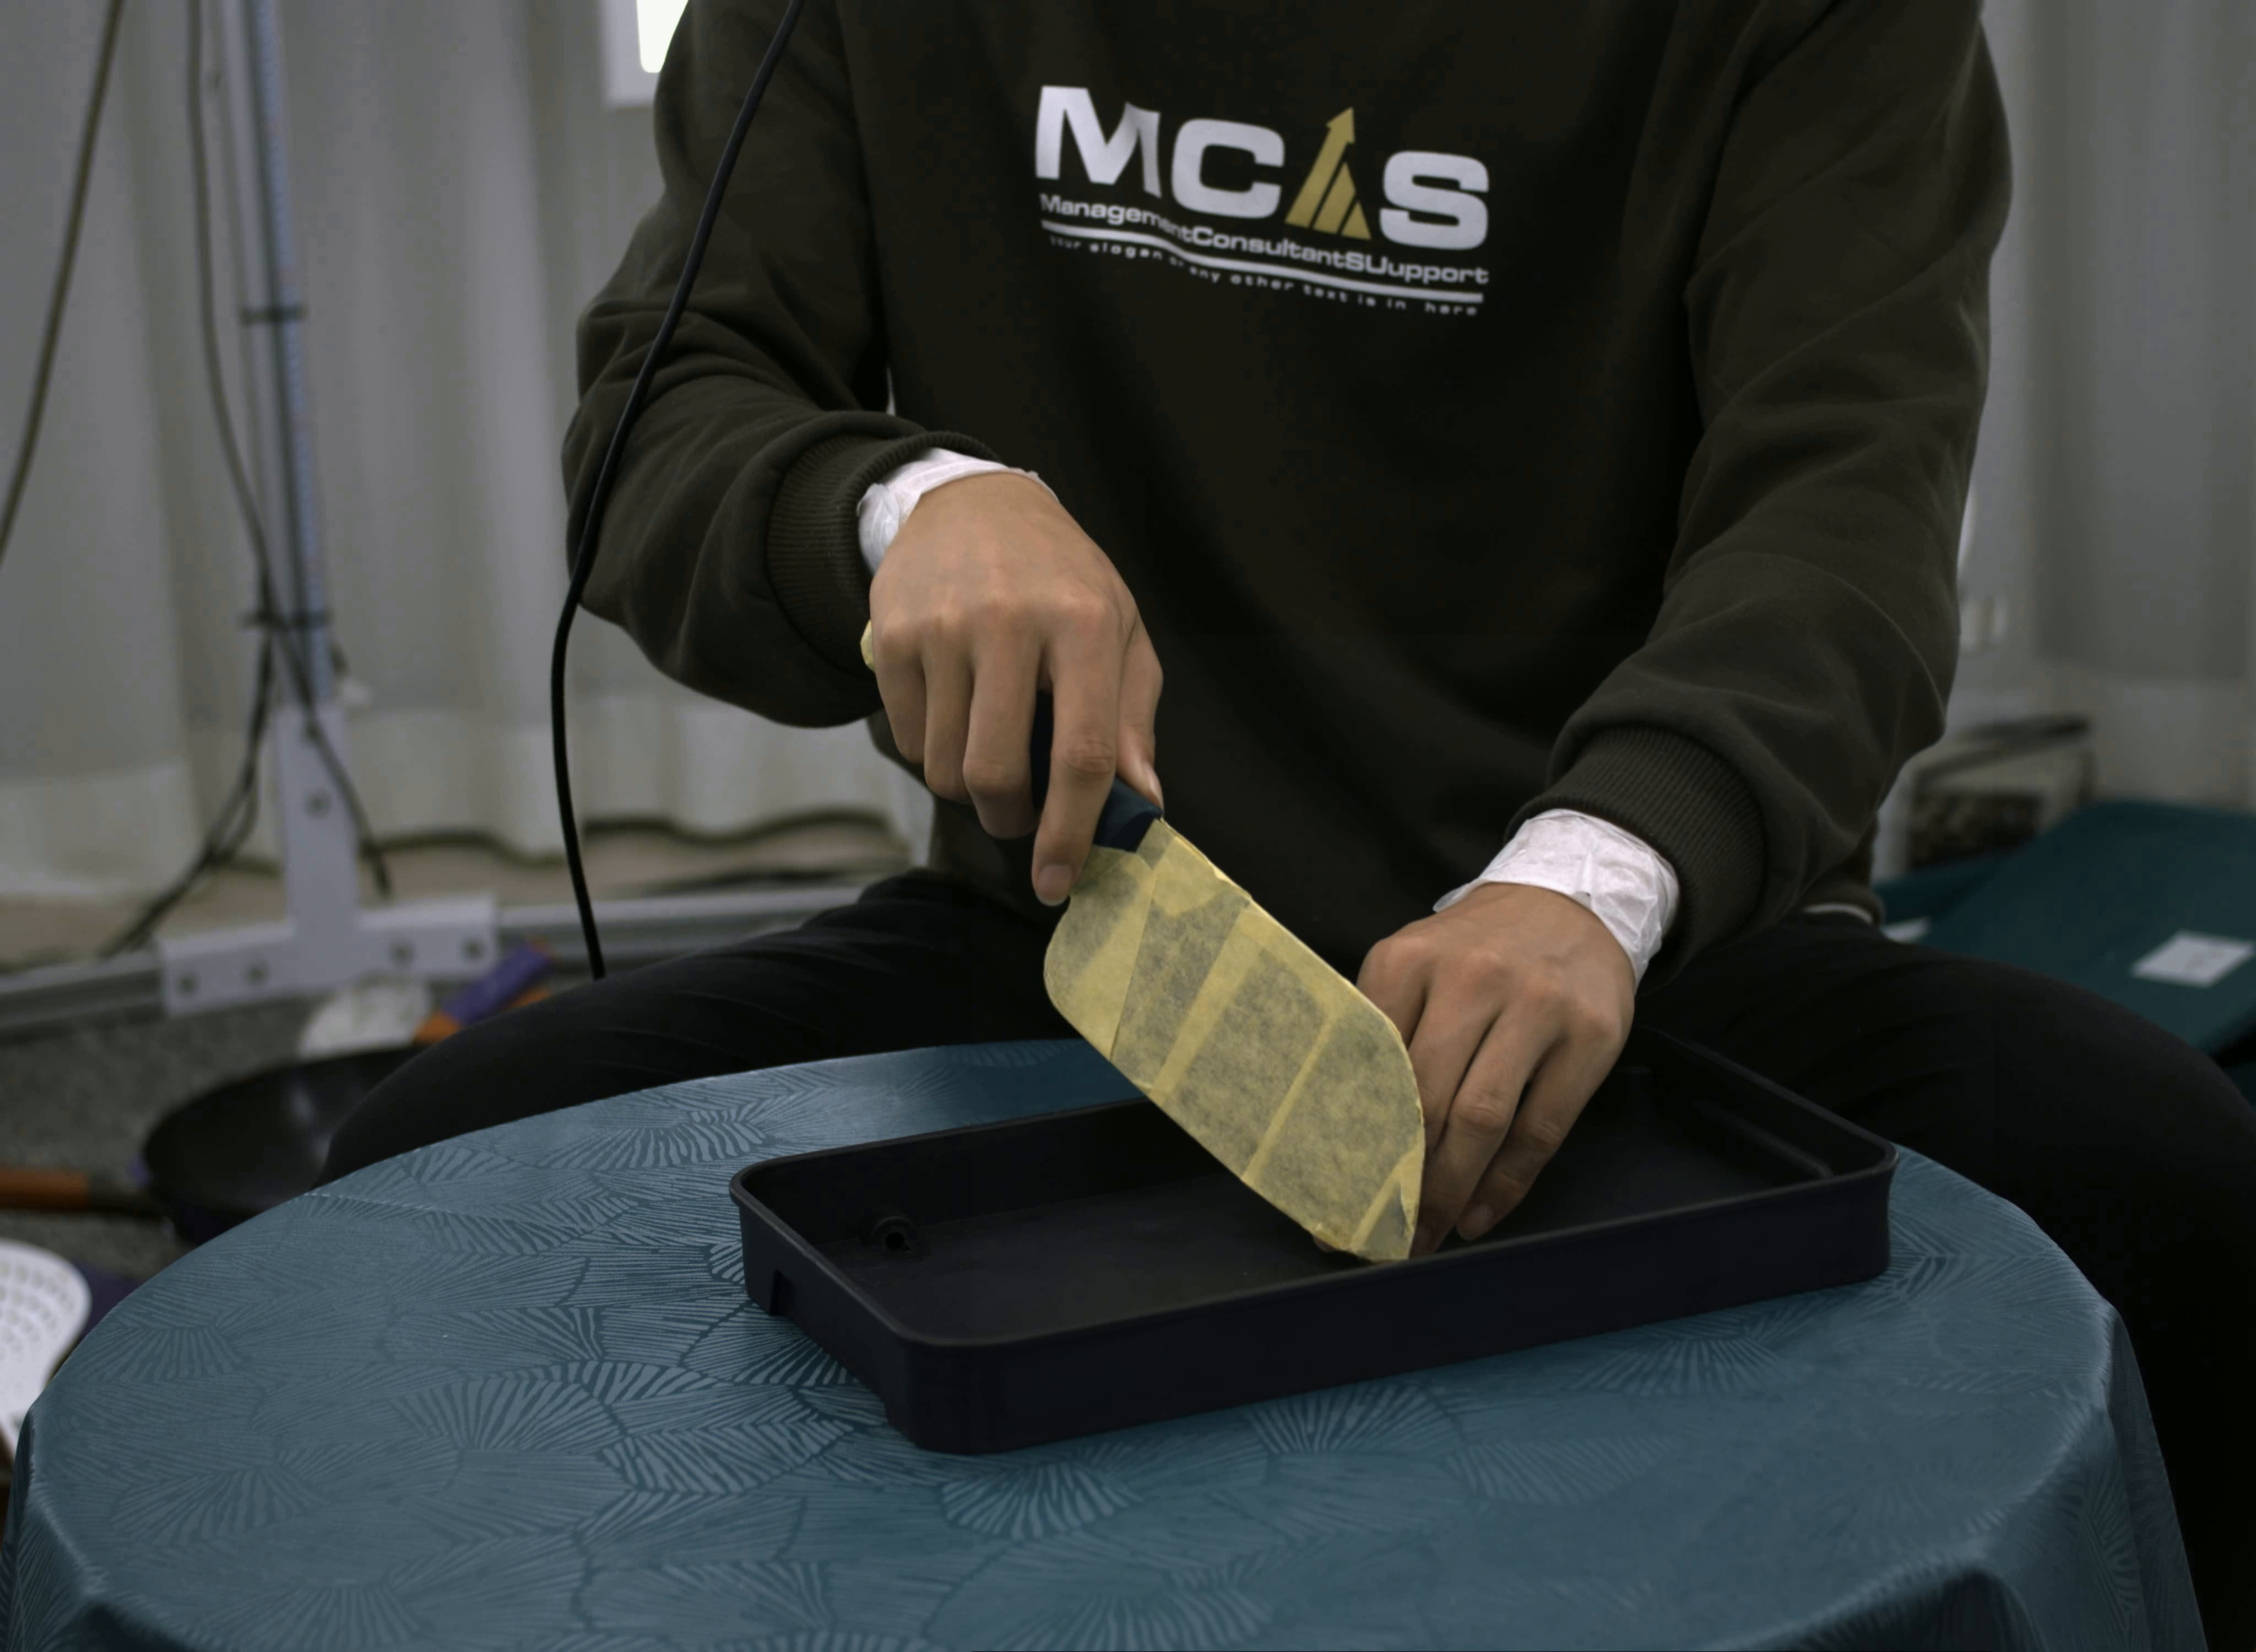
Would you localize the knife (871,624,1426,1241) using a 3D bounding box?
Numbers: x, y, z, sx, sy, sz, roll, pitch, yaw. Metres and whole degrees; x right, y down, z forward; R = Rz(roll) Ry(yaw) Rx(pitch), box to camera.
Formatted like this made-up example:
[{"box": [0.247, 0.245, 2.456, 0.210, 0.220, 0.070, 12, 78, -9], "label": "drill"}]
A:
[{"box": [0.001, 0.030, 1.687, 0.027, 0.080, 0.293, 11, 27, -48], "label": "knife"}]

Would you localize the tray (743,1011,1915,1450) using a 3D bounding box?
[{"box": [0.059, 0.116, 1.630, 0.316, 0.037, 0.186, -9, 16, -23], "label": "tray"}]
